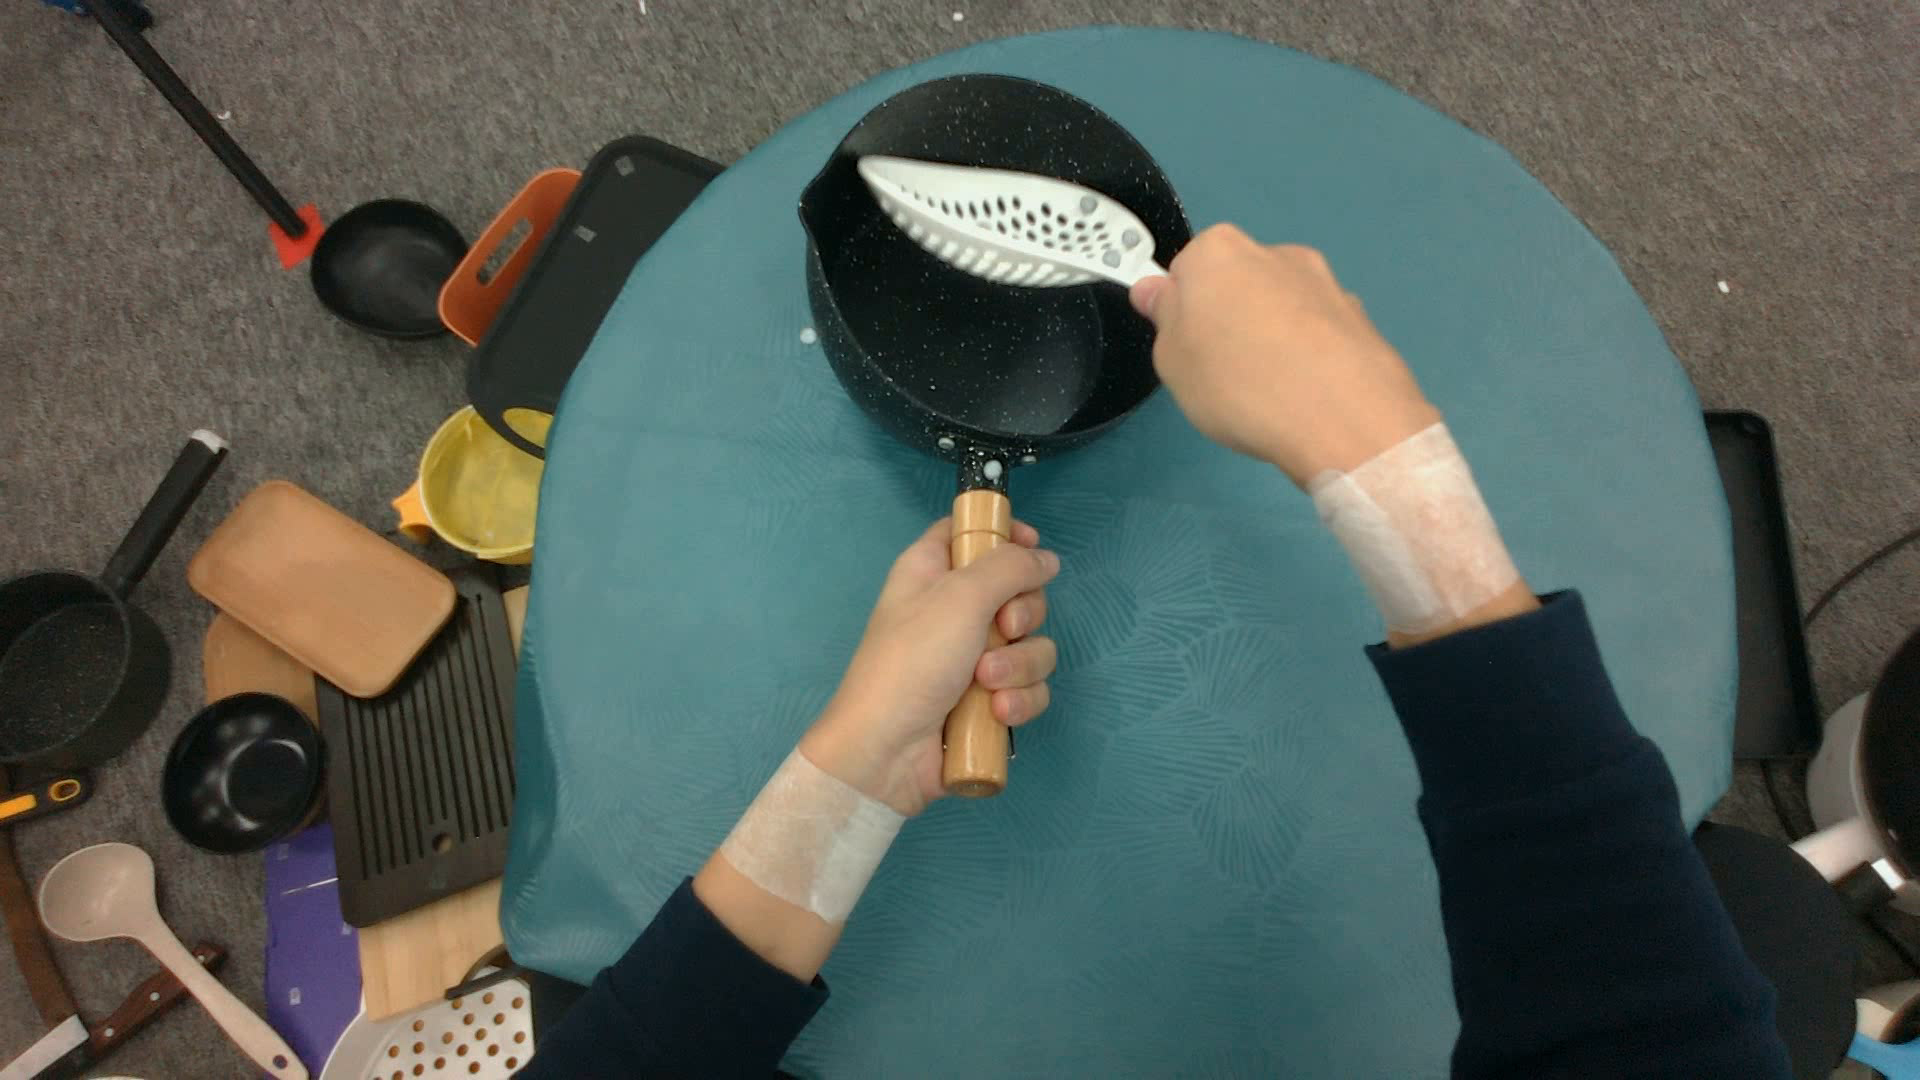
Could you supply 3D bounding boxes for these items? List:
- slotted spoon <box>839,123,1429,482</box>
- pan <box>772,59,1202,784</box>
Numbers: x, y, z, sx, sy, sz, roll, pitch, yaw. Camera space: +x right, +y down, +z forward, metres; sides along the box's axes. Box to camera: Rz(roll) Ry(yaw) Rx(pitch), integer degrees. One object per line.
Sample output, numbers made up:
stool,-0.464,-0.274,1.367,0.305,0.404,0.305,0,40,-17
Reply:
slotted spoon,0.061,-0.112,0.566,0.137,0.050,0.348,-2,25,-31
pan,0.004,-0.055,0.632,0.207,0.108,0.344,9,71,-15
